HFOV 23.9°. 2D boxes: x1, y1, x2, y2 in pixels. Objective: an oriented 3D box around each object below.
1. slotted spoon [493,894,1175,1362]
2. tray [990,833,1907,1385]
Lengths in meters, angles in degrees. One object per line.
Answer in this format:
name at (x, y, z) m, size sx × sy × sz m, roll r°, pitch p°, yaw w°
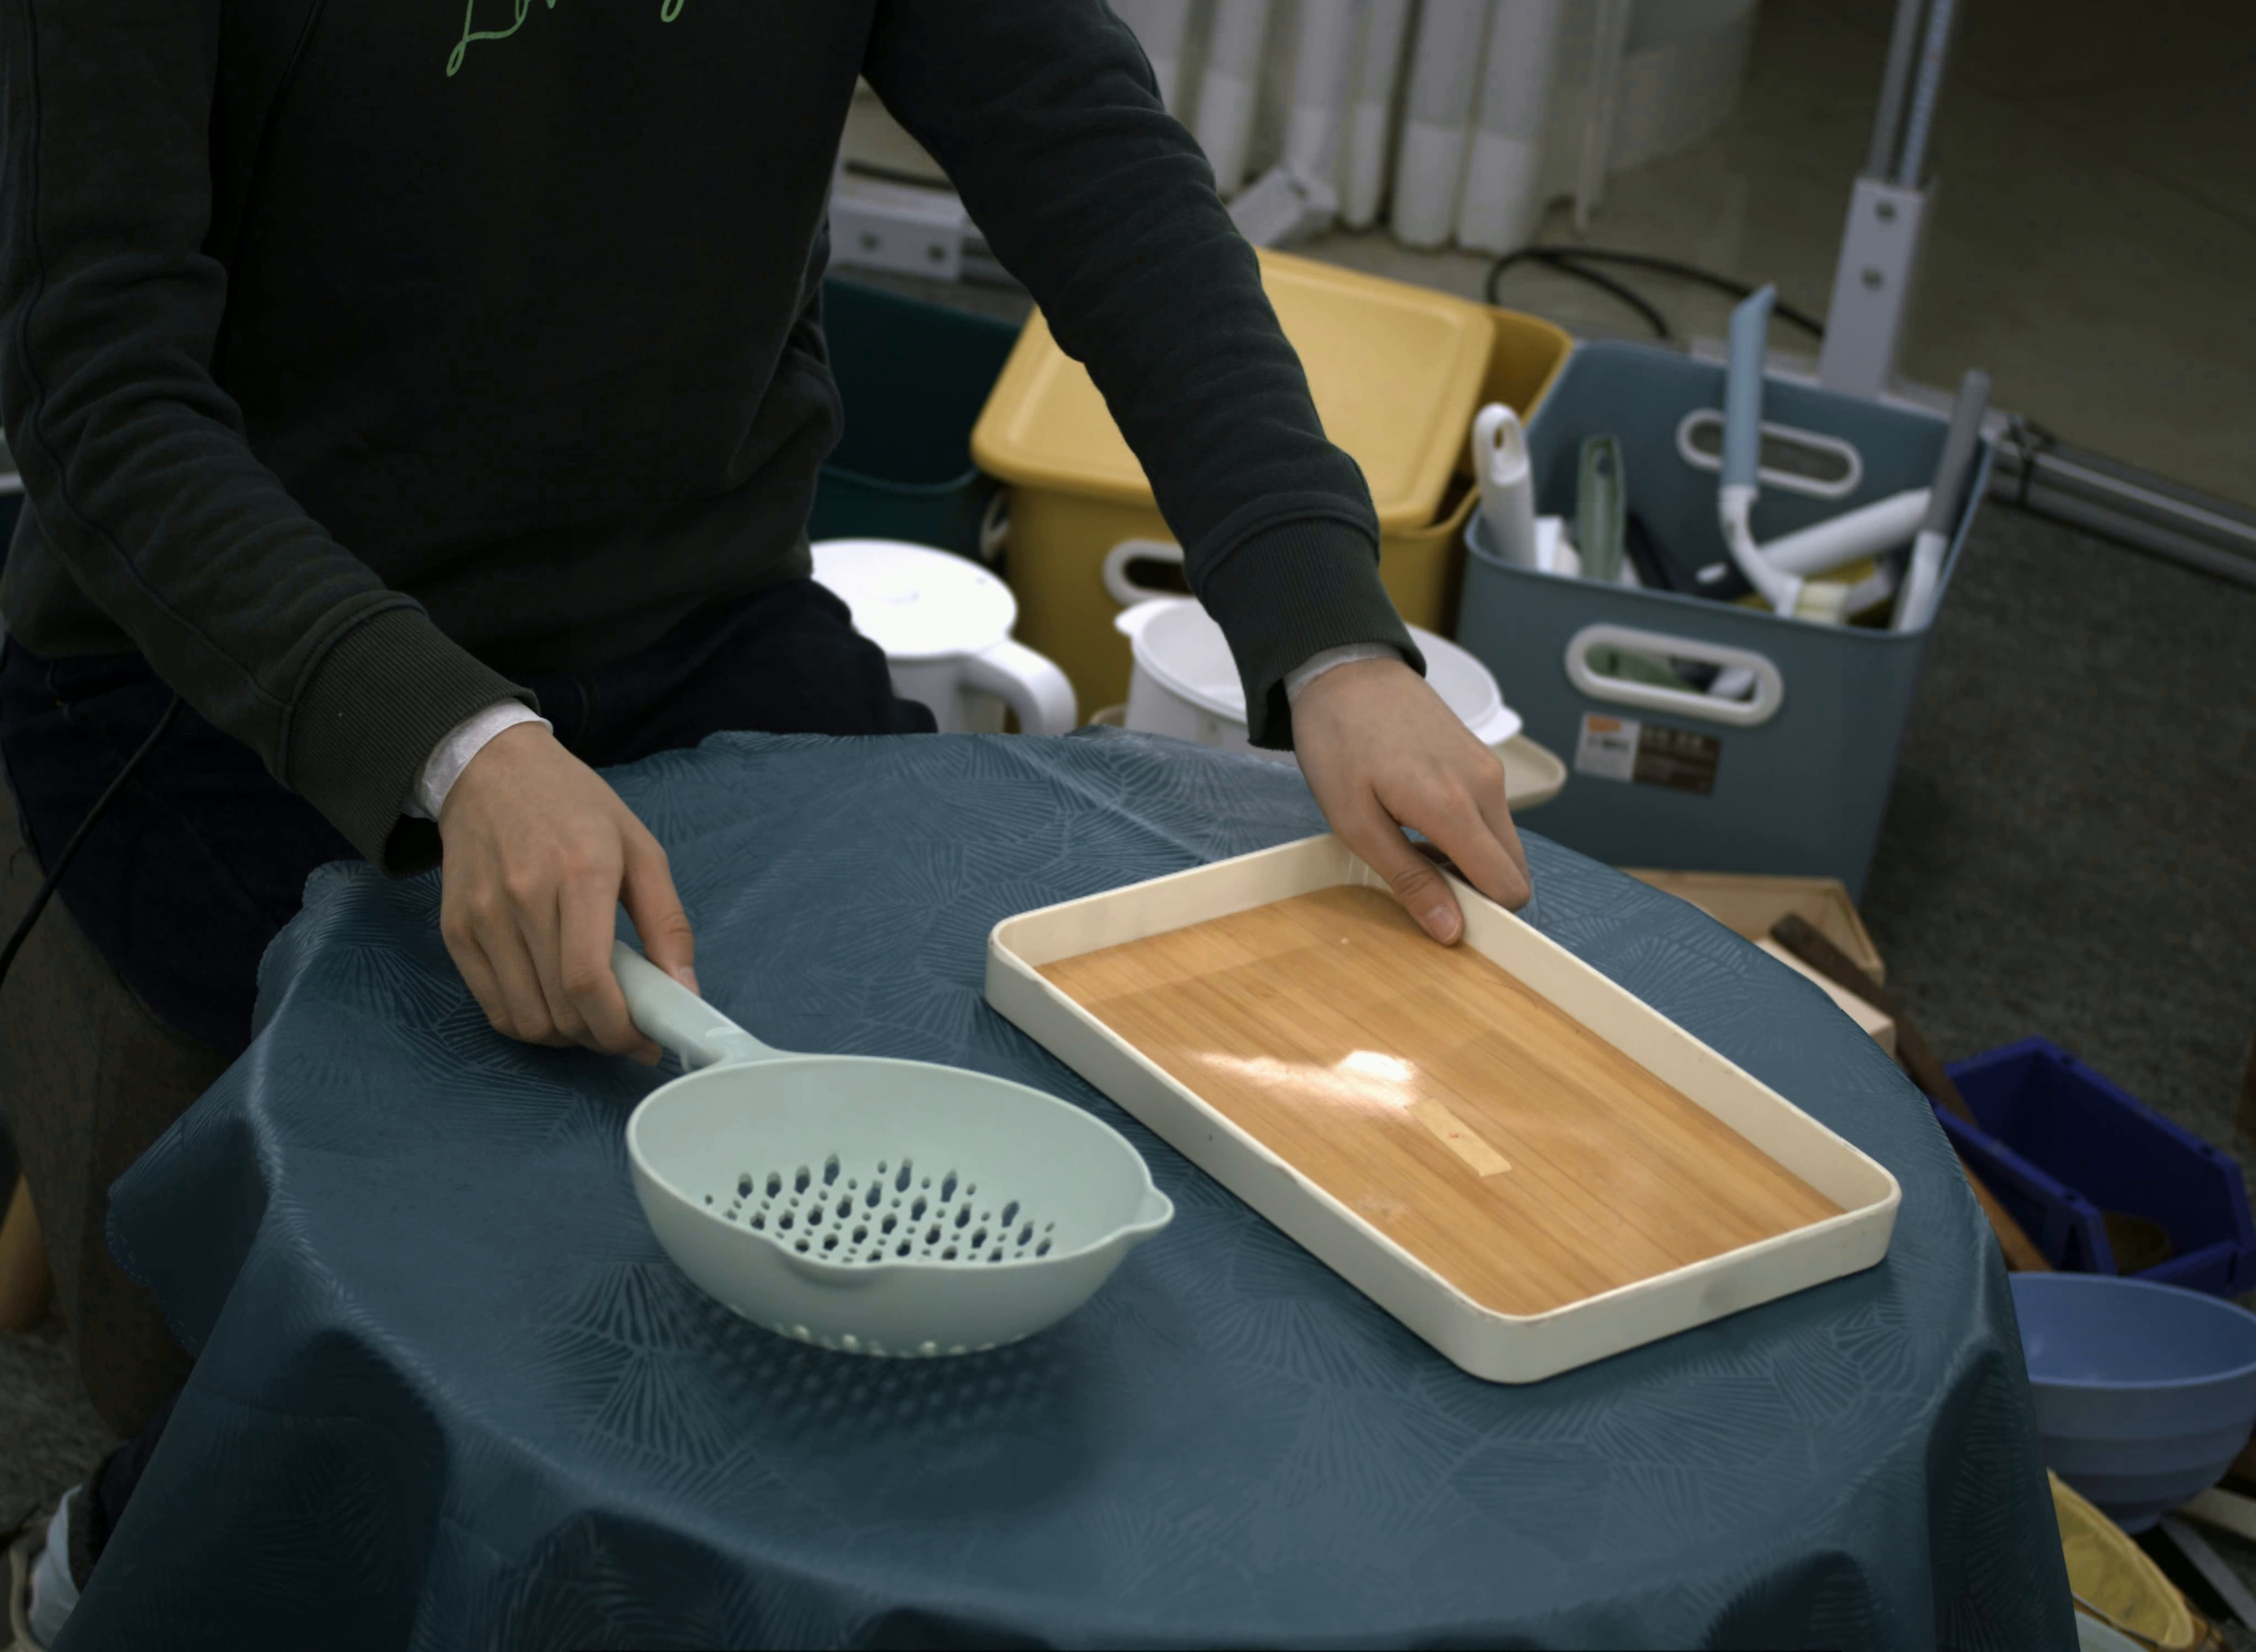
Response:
slotted spoon at (-0.129, 0.085, 1.773) m, size 0.168 × 0.075 × 0.362 m, roll -4°, pitch 29°, yaw -32°
tray at (0.107, 0.093, 1.857) m, size 0.190 × 0.027 × 0.303 m, roll -13°, pitch 33°, yaw -34°
